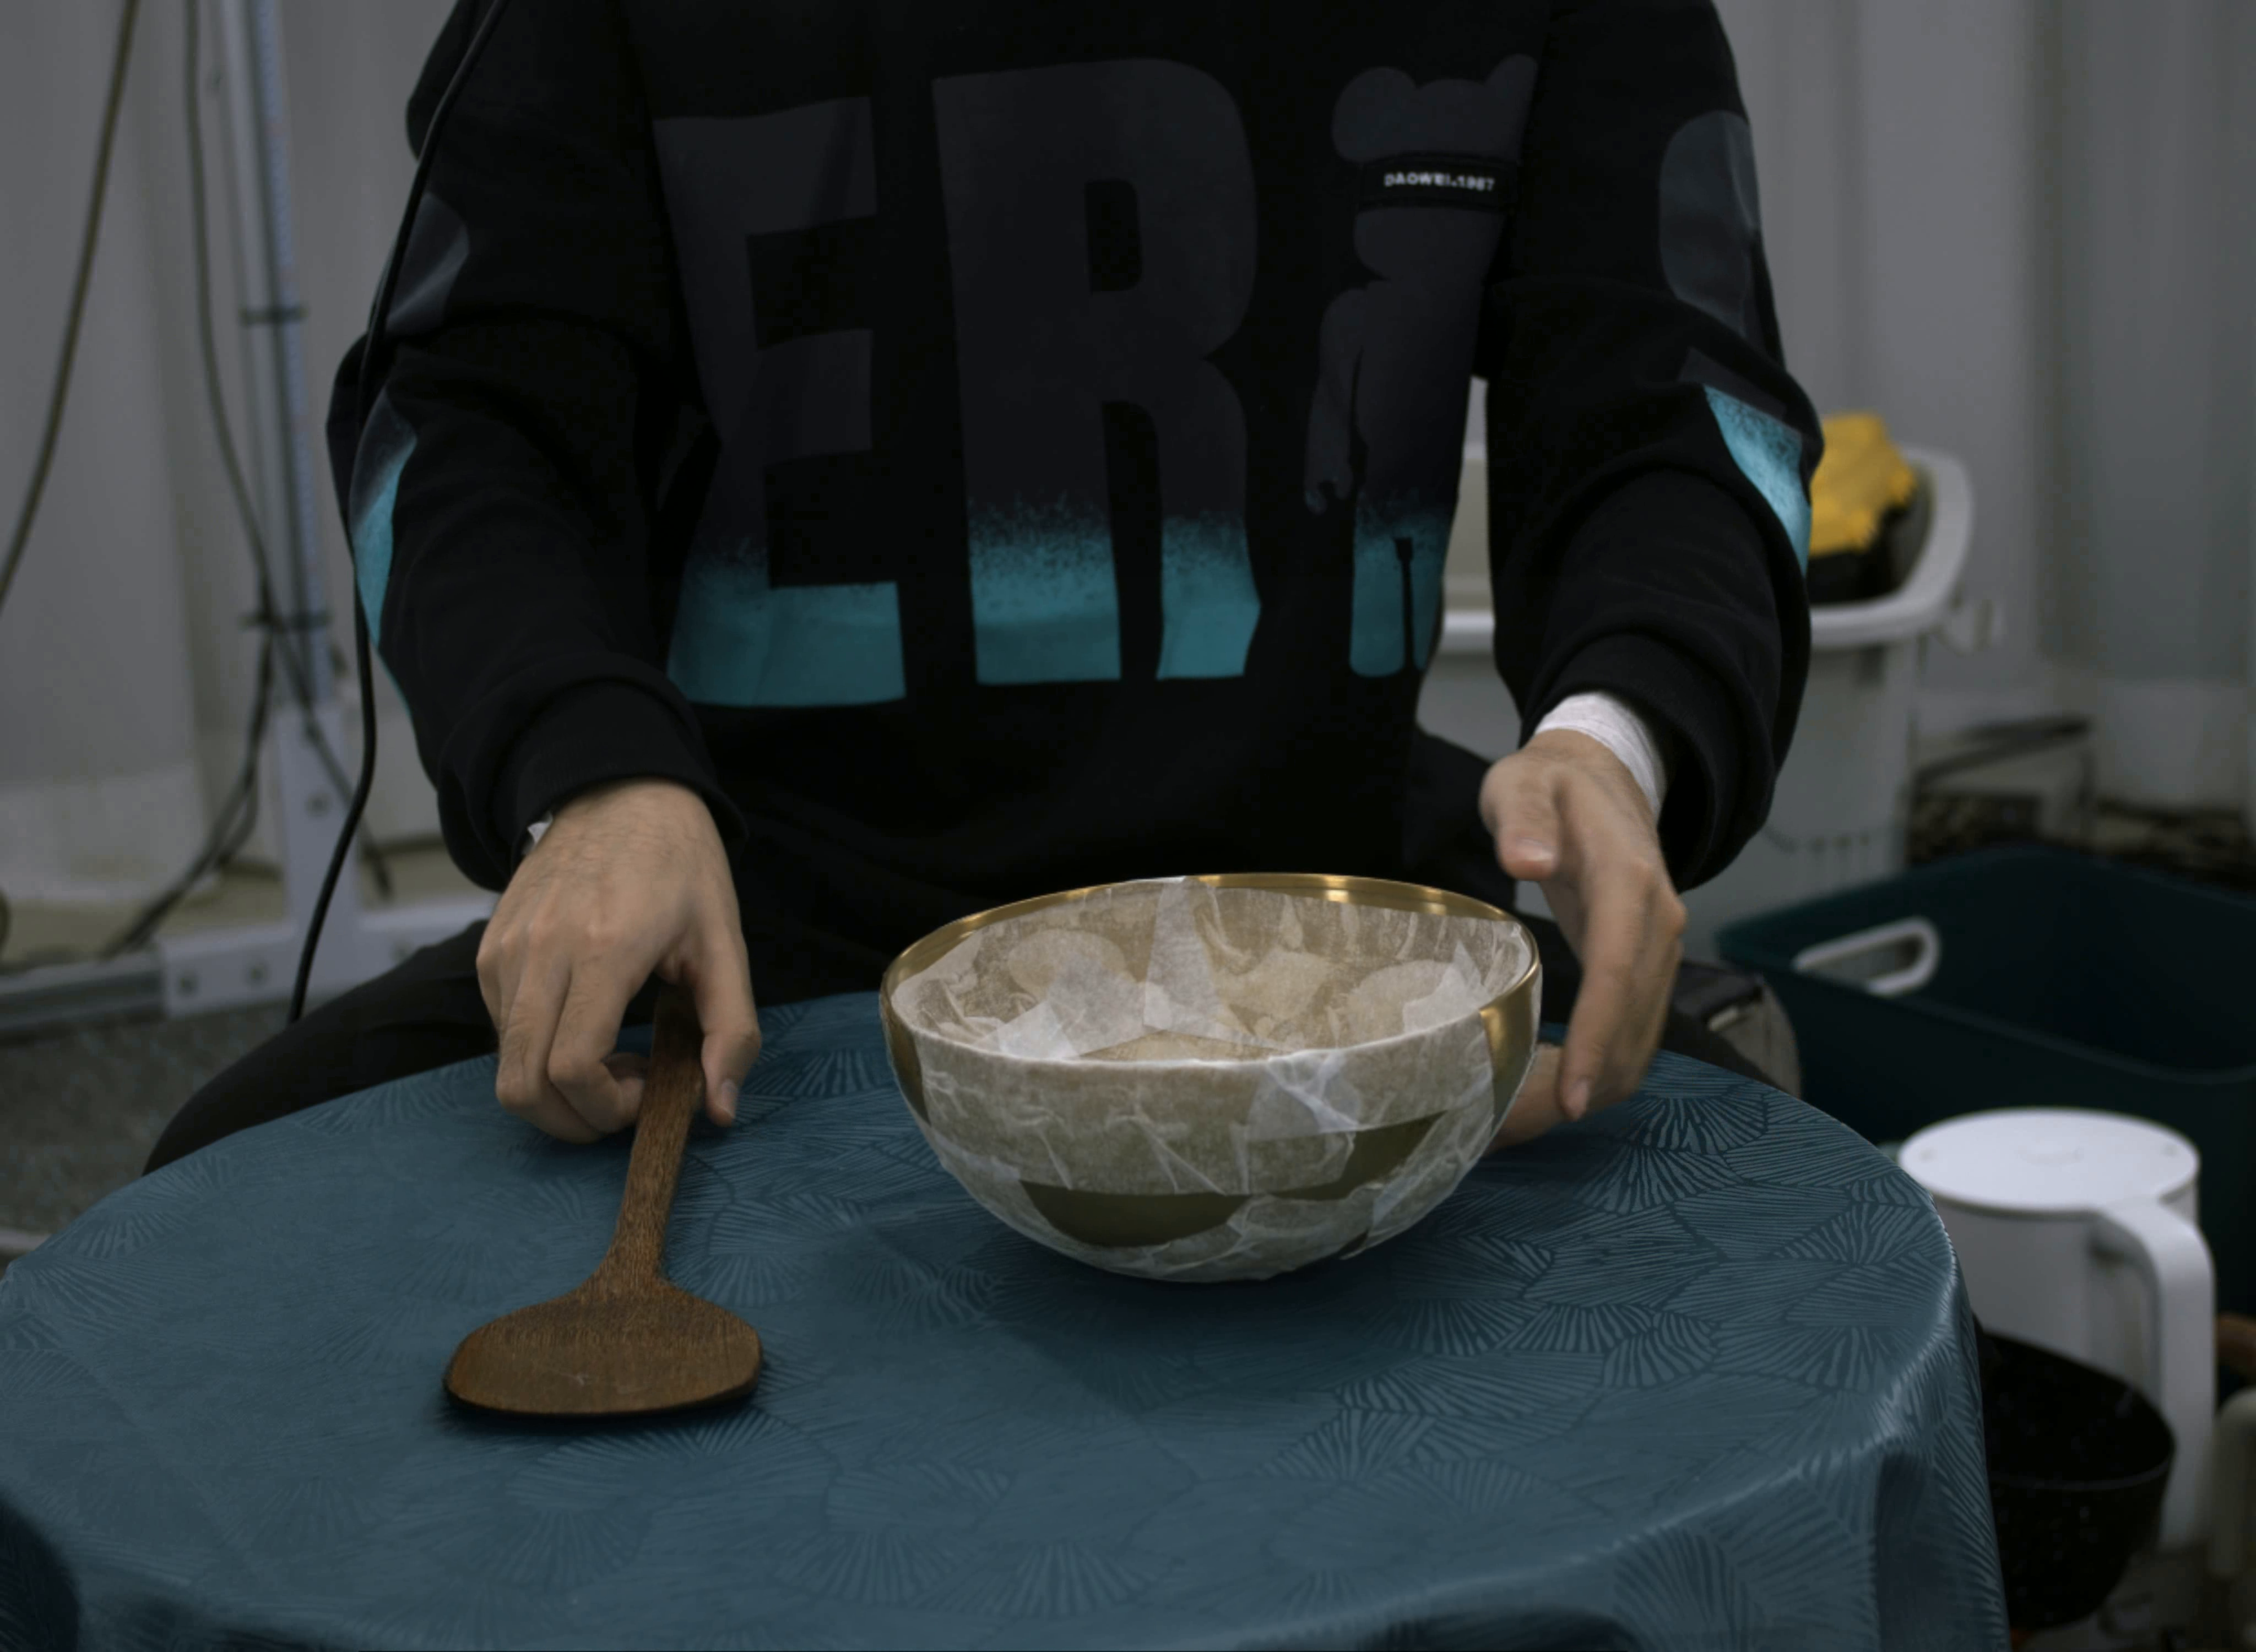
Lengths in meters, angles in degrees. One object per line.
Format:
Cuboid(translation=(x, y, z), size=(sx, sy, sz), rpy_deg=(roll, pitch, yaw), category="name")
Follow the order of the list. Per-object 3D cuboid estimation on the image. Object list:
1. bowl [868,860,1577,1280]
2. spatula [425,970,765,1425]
Cuboid(translation=(0.030, 0.082, 1.650), size=(0.214, 0.094, 0.216), rpy_deg=(-4, 14, 1), category="bowl")
Cuboid(translation=(-0.149, 0.109, 1.714), size=(0.096, 0.016, 0.389), rpy_deg=(-1, 18, 1), category="spatula")
